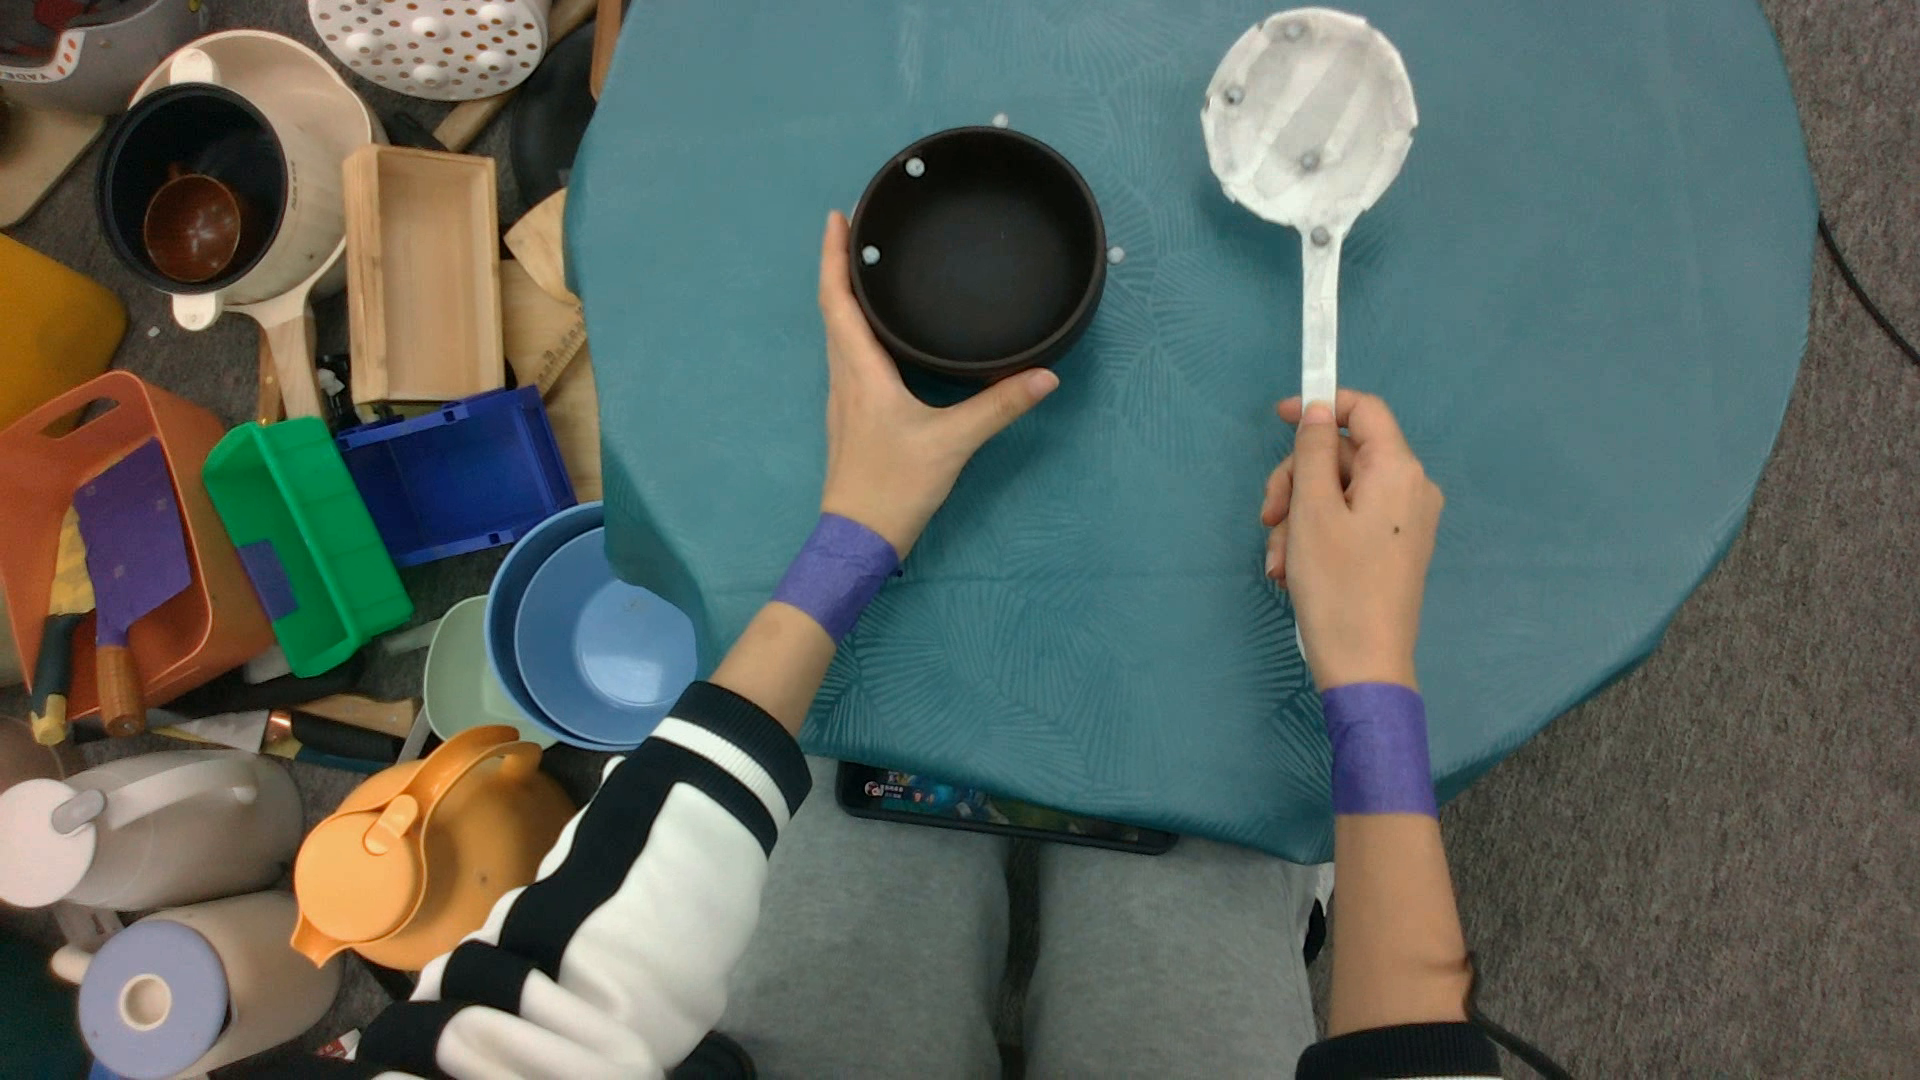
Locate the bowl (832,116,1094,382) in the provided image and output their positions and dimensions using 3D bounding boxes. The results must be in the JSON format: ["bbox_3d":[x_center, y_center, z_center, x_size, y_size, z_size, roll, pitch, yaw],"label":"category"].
[{"bbox_3d":[0.003,-0.129,0.642,0.118,0.070,0.118,-1,81,4],"label":"bowl"}]

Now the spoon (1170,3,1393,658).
[{"bbox_3d":[0.133,-0.090,0.597,0.100,0.059,0.278,0,80,35],"label":"spoon"}]
